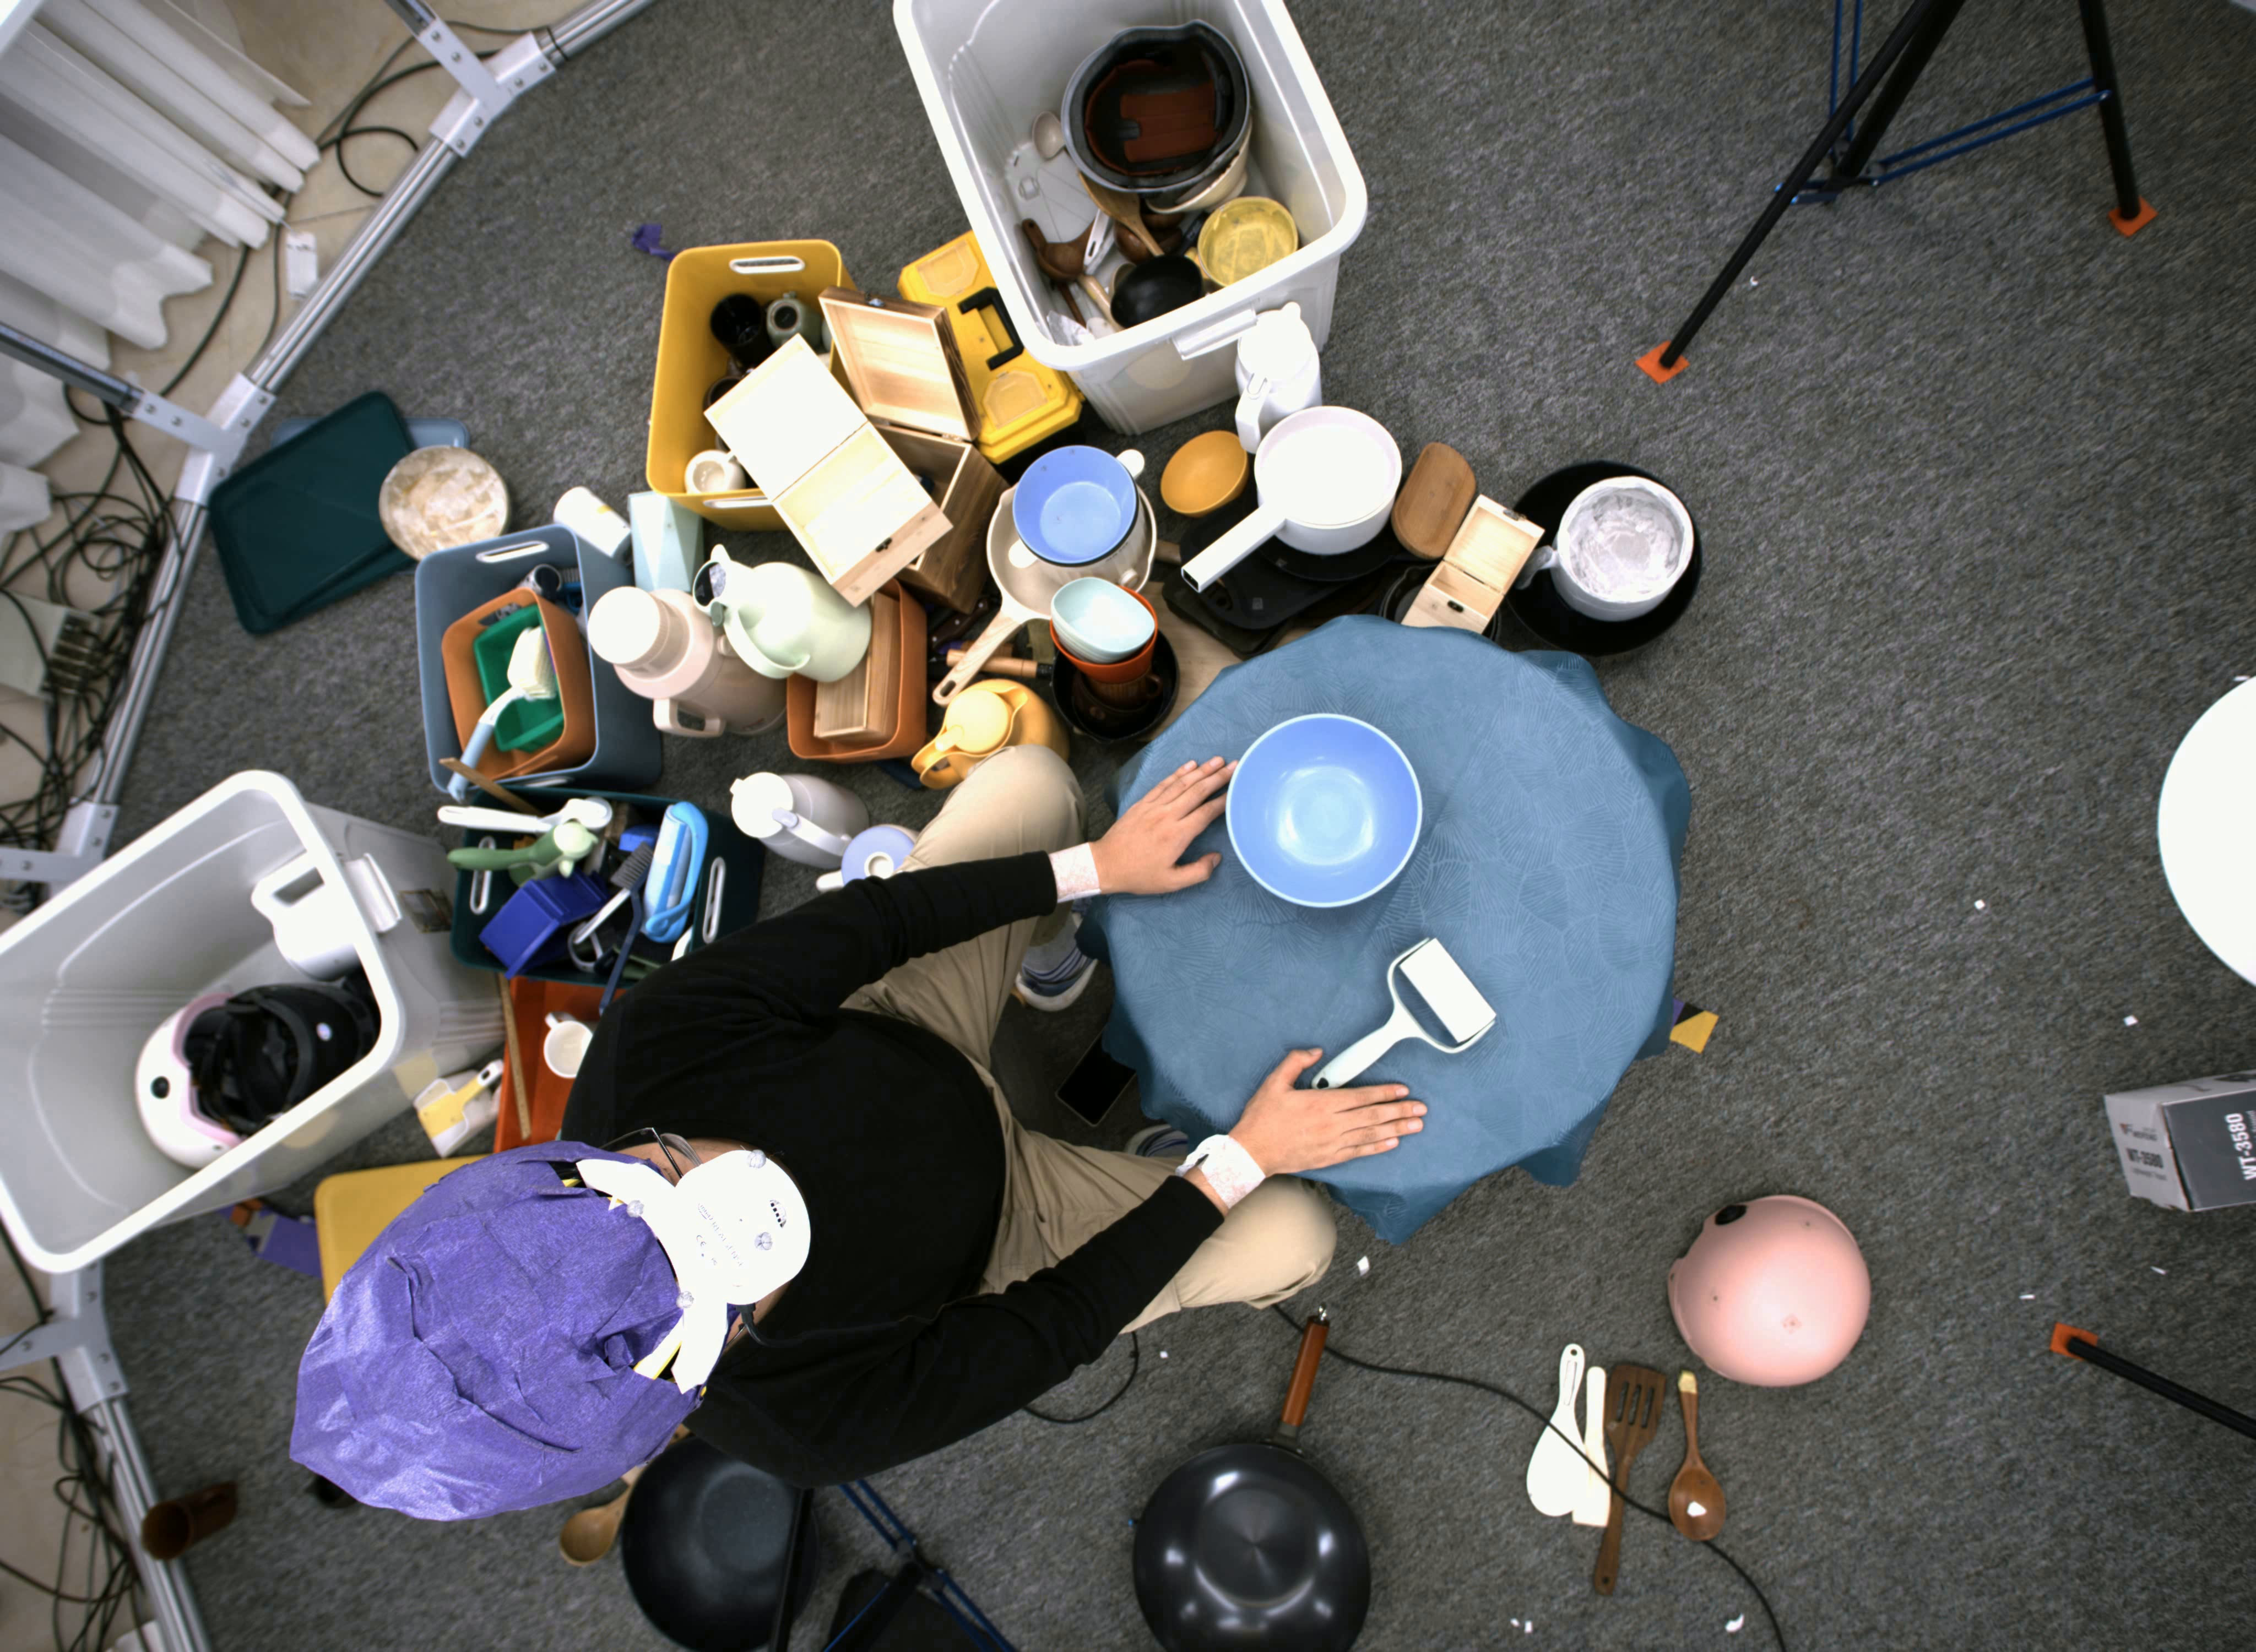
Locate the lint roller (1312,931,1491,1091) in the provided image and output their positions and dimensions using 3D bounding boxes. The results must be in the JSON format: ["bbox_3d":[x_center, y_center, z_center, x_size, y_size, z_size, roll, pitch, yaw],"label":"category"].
[{"bbox_3d":[0.267,0.206,1.431,0.199,0.048,0.116,-39,82,8],"label":"lint roller"}]

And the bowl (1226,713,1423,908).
[{"bbox_3d":[0.203,-0.013,1.429,0.197,0.095,0.196,-1,87,10],"label":"bowl"}]
